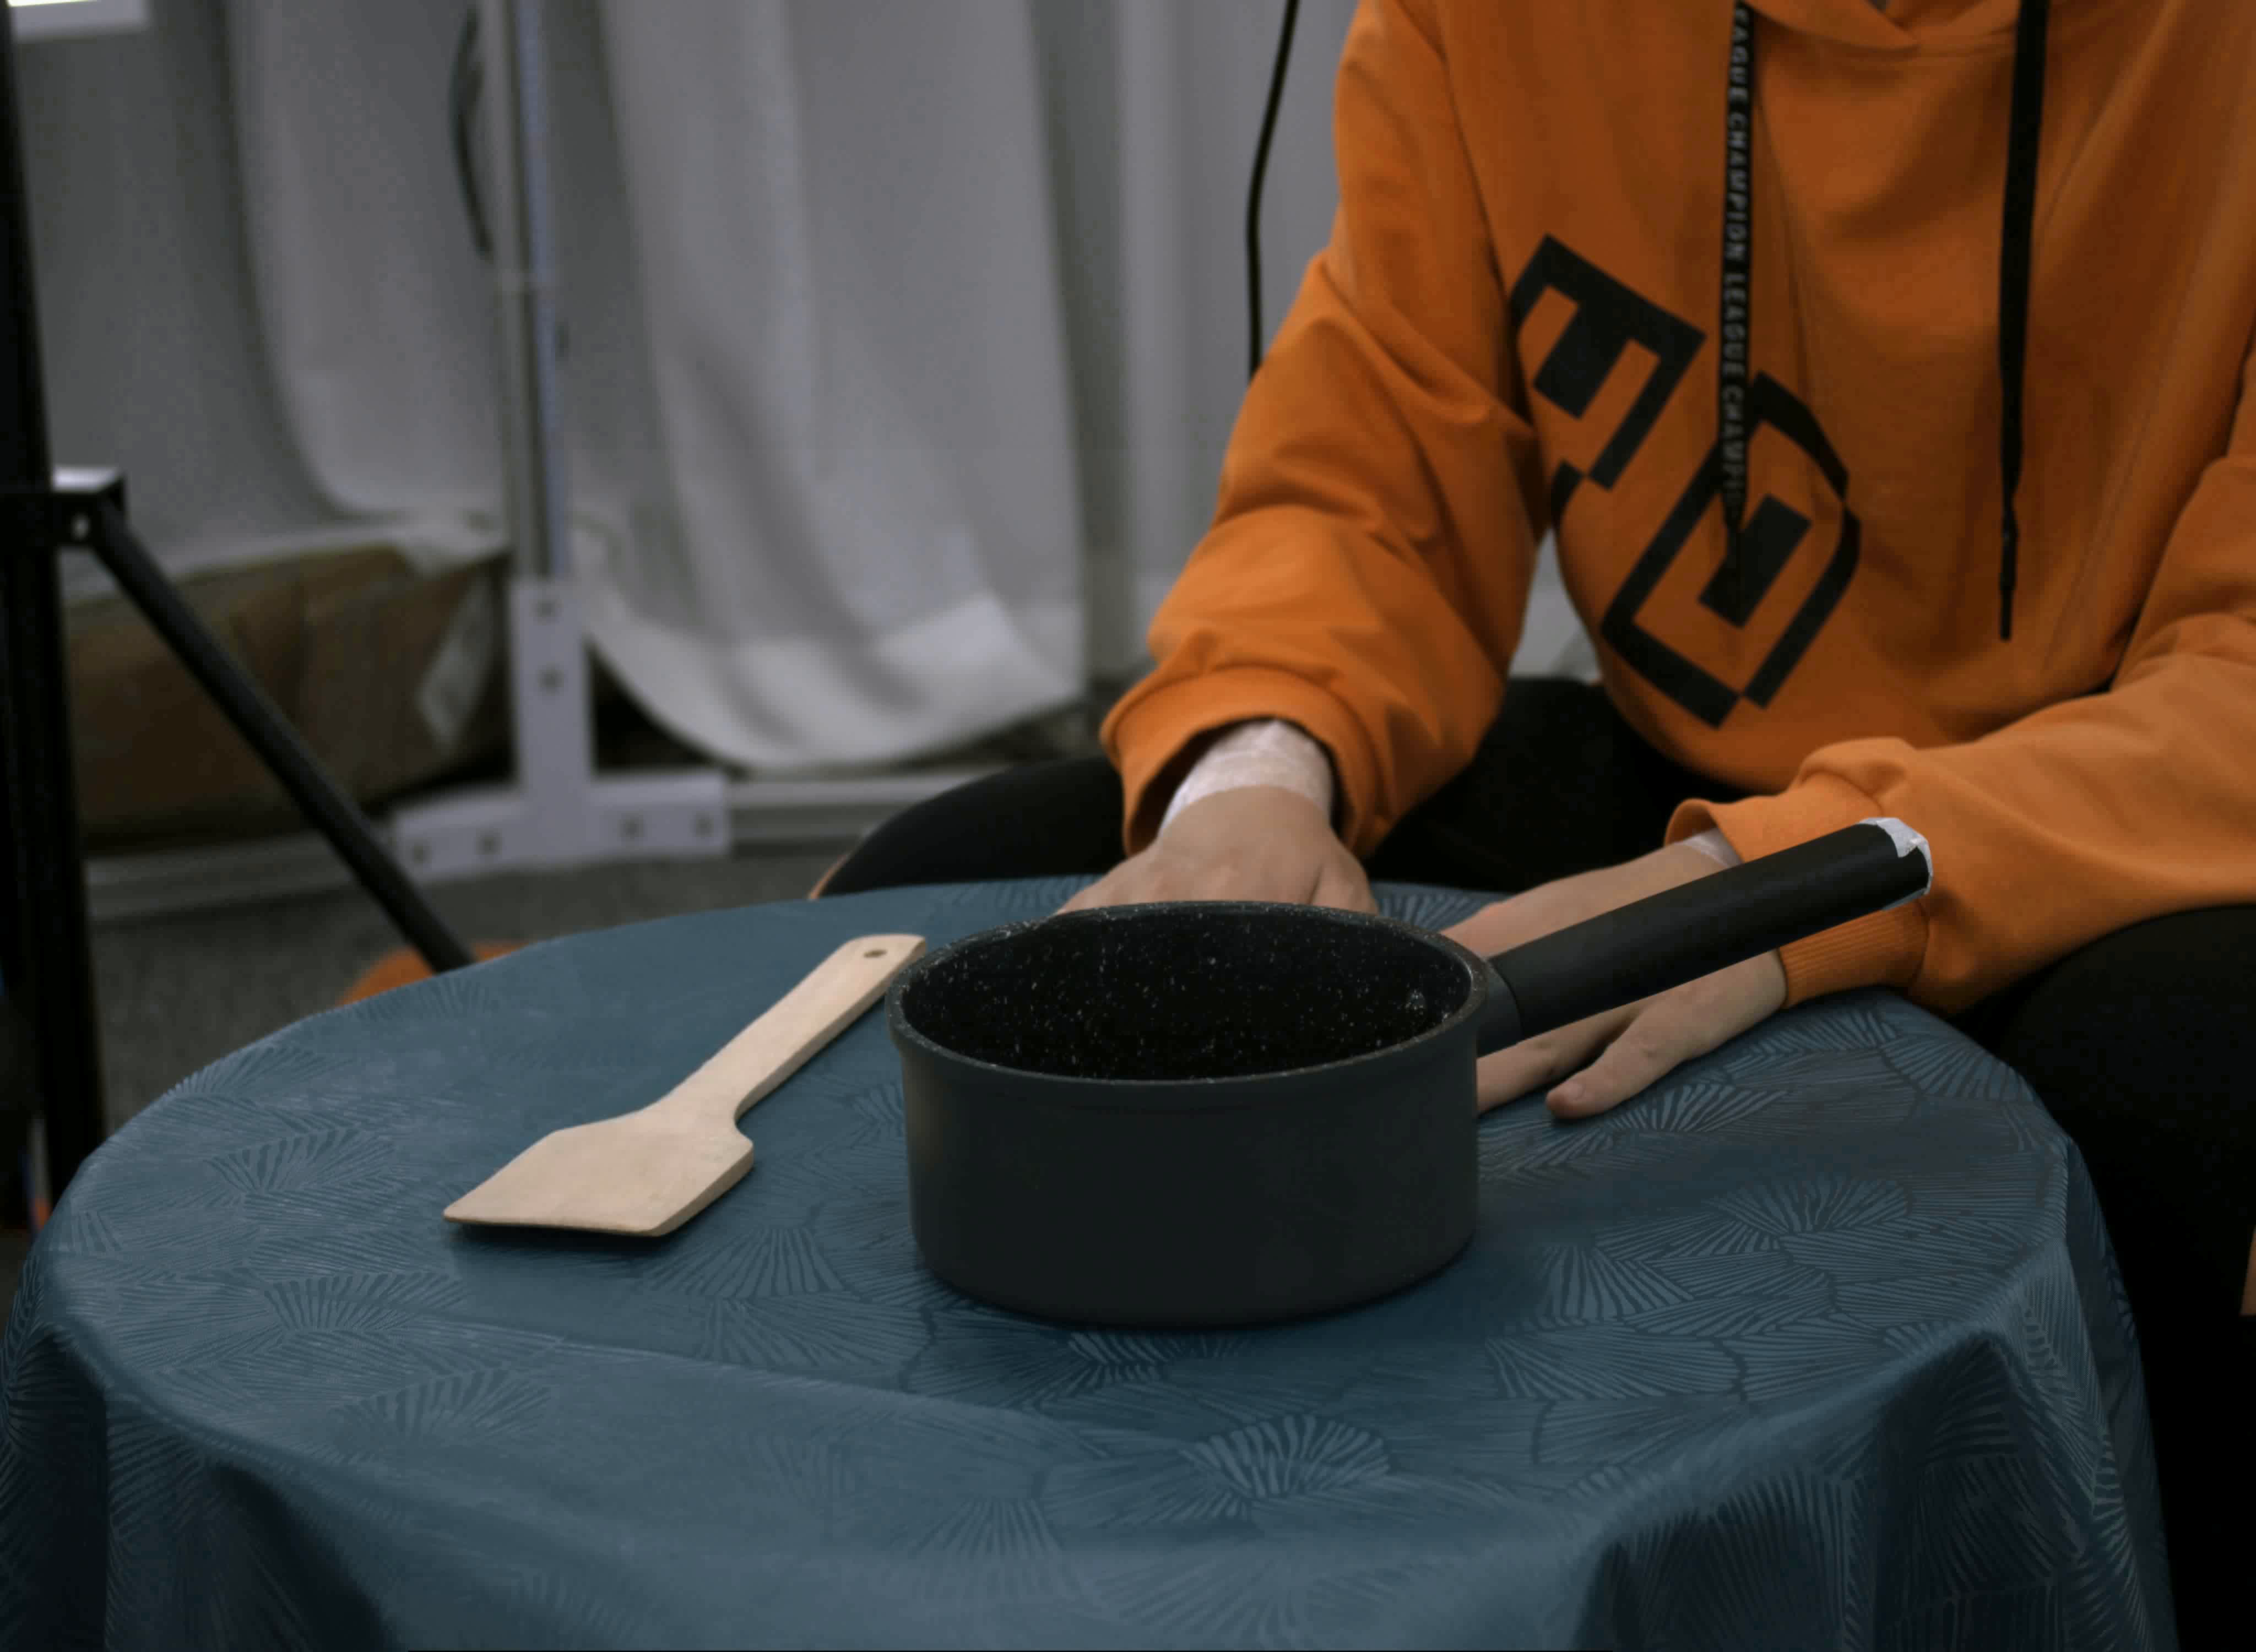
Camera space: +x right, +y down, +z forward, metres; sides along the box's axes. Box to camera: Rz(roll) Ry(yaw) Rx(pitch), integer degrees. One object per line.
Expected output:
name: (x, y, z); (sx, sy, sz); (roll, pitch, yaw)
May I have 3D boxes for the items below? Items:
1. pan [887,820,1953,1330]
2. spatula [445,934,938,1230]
pan: (0.091, 0.067, 1.534); (0.323, 0.086, 0.175); (-10, 18, -19)
spatula: (-0.122, 0.078, 1.668); (0.073, 0.010, 0.290); (-1, 15, 20)
